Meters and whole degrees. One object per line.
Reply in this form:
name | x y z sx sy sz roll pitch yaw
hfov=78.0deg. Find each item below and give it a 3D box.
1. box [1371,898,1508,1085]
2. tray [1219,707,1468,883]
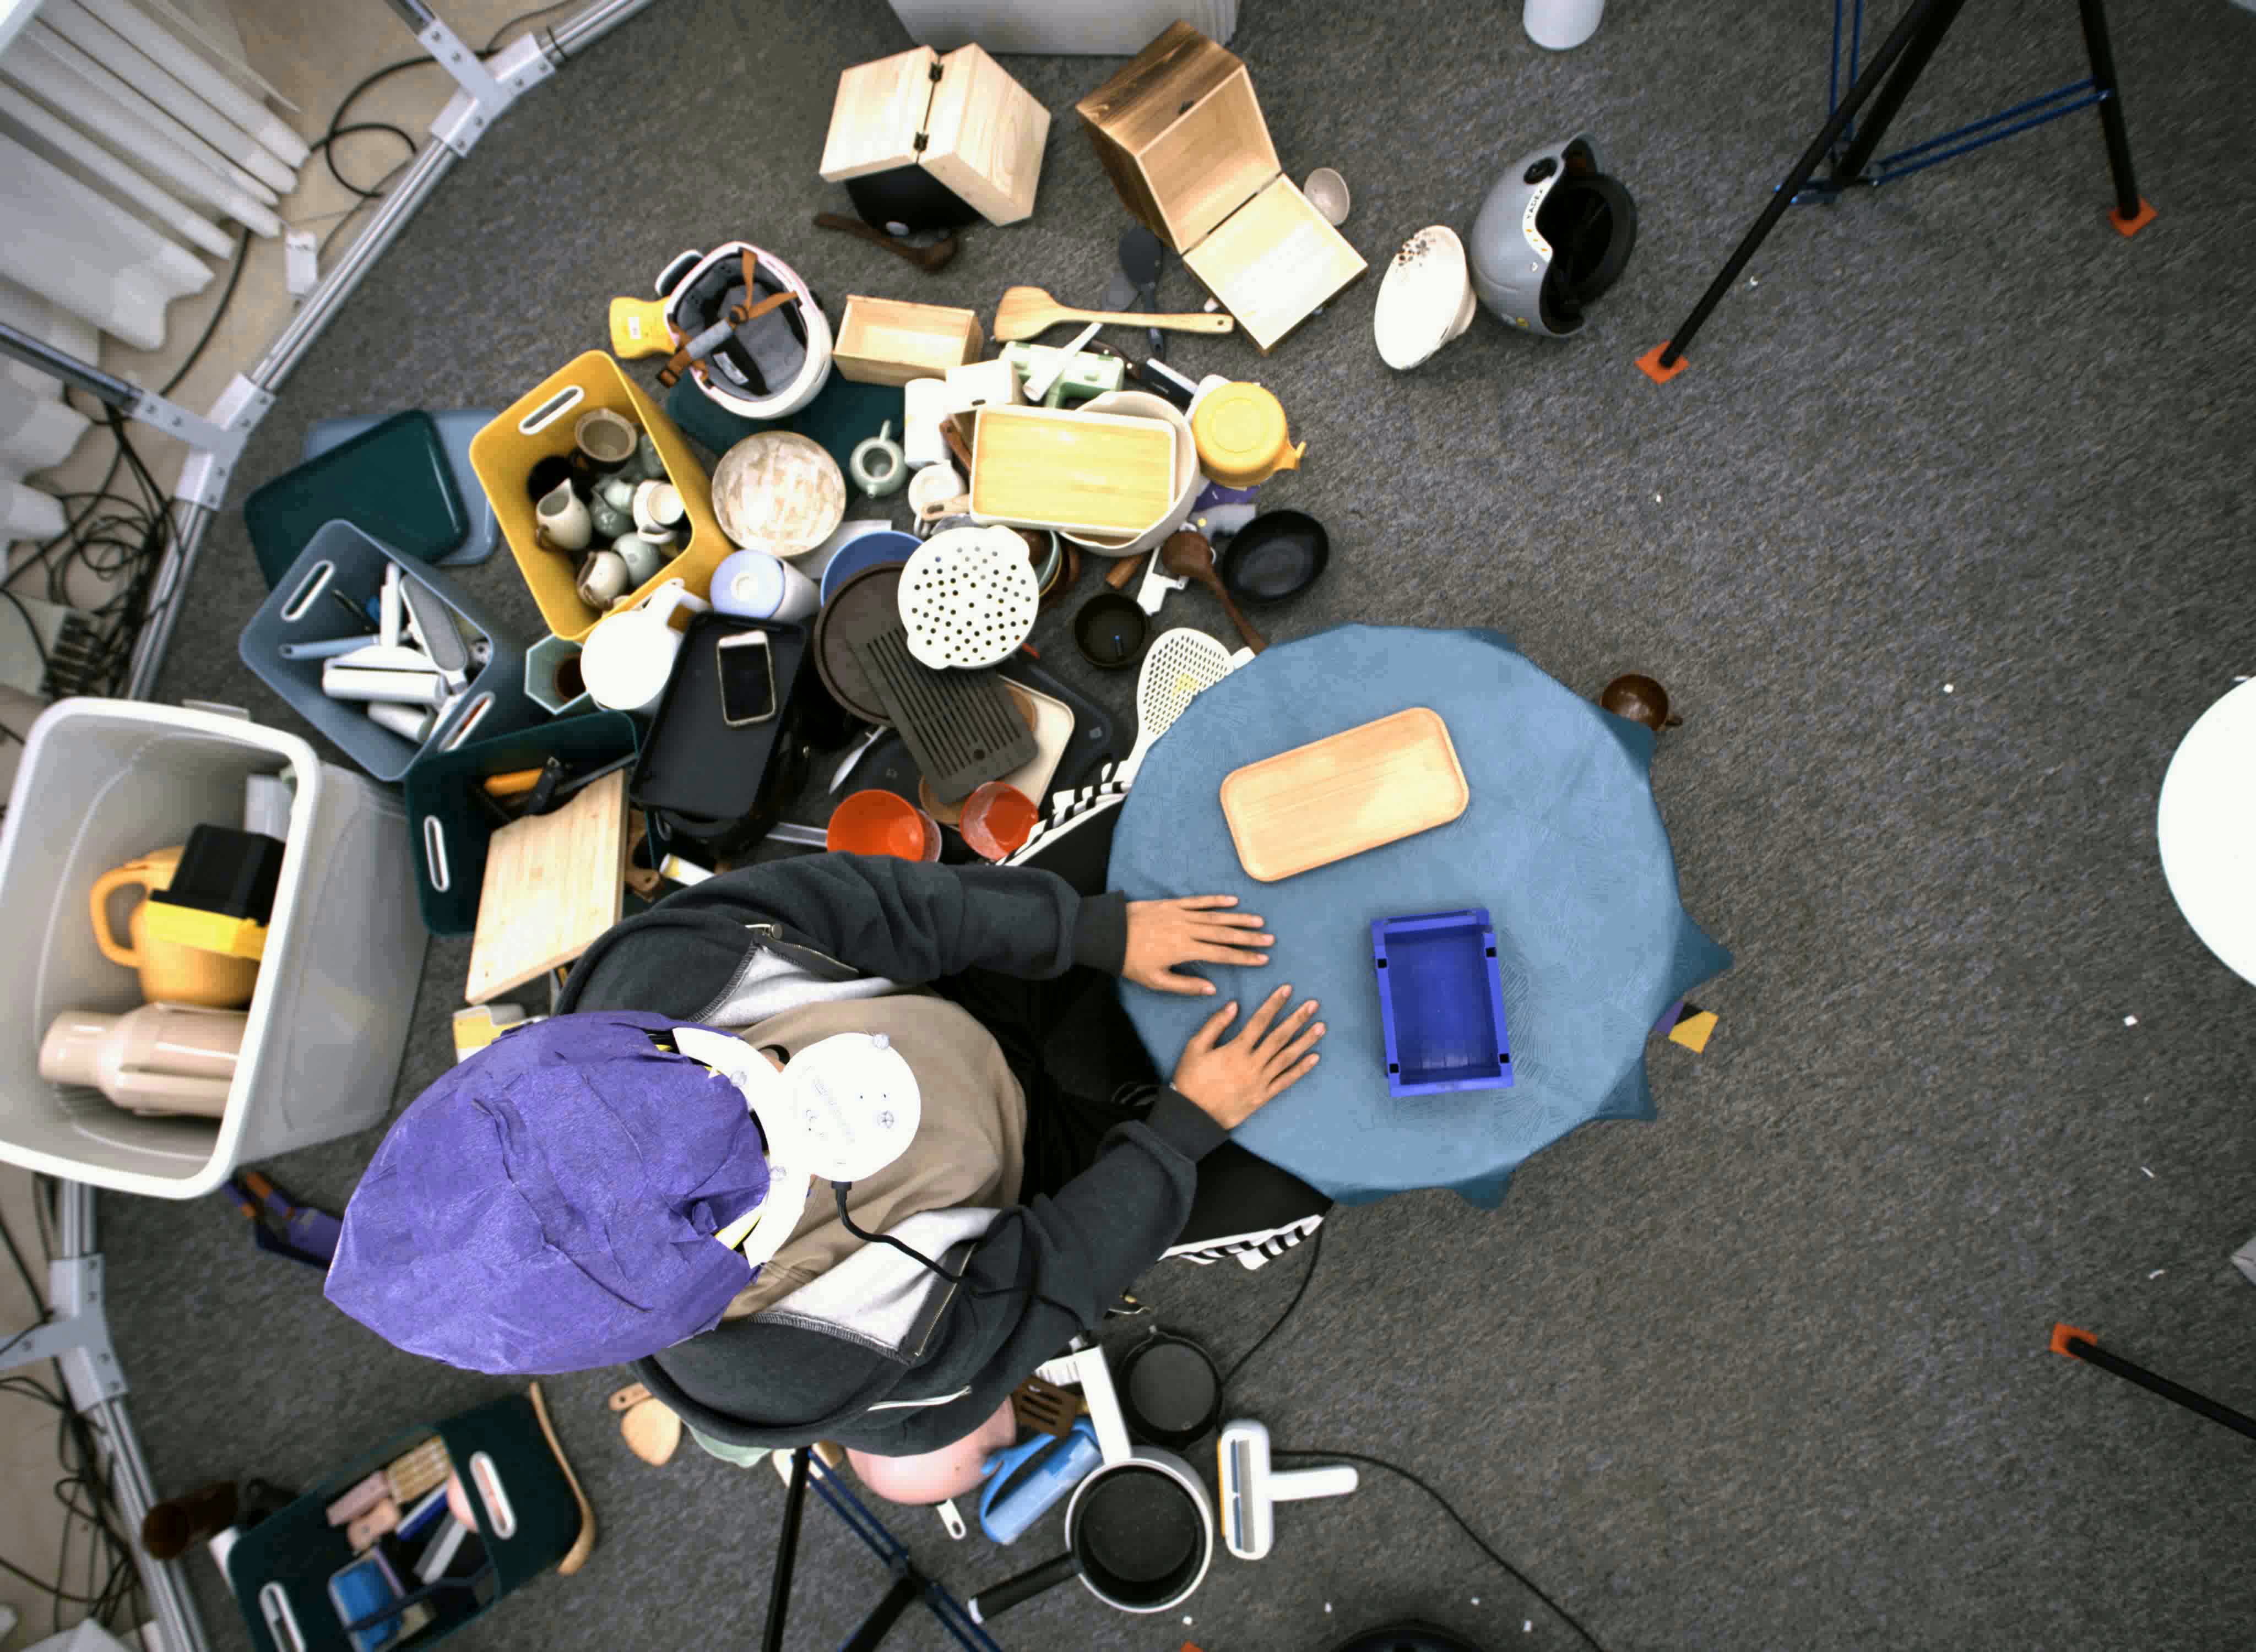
box | 0.313 0.165 1.405 0.125 0.081 0.179 -4 89 10
tray | 0.227 -0.033 1.464 0.252 0.023 0.129 -19 81 9
